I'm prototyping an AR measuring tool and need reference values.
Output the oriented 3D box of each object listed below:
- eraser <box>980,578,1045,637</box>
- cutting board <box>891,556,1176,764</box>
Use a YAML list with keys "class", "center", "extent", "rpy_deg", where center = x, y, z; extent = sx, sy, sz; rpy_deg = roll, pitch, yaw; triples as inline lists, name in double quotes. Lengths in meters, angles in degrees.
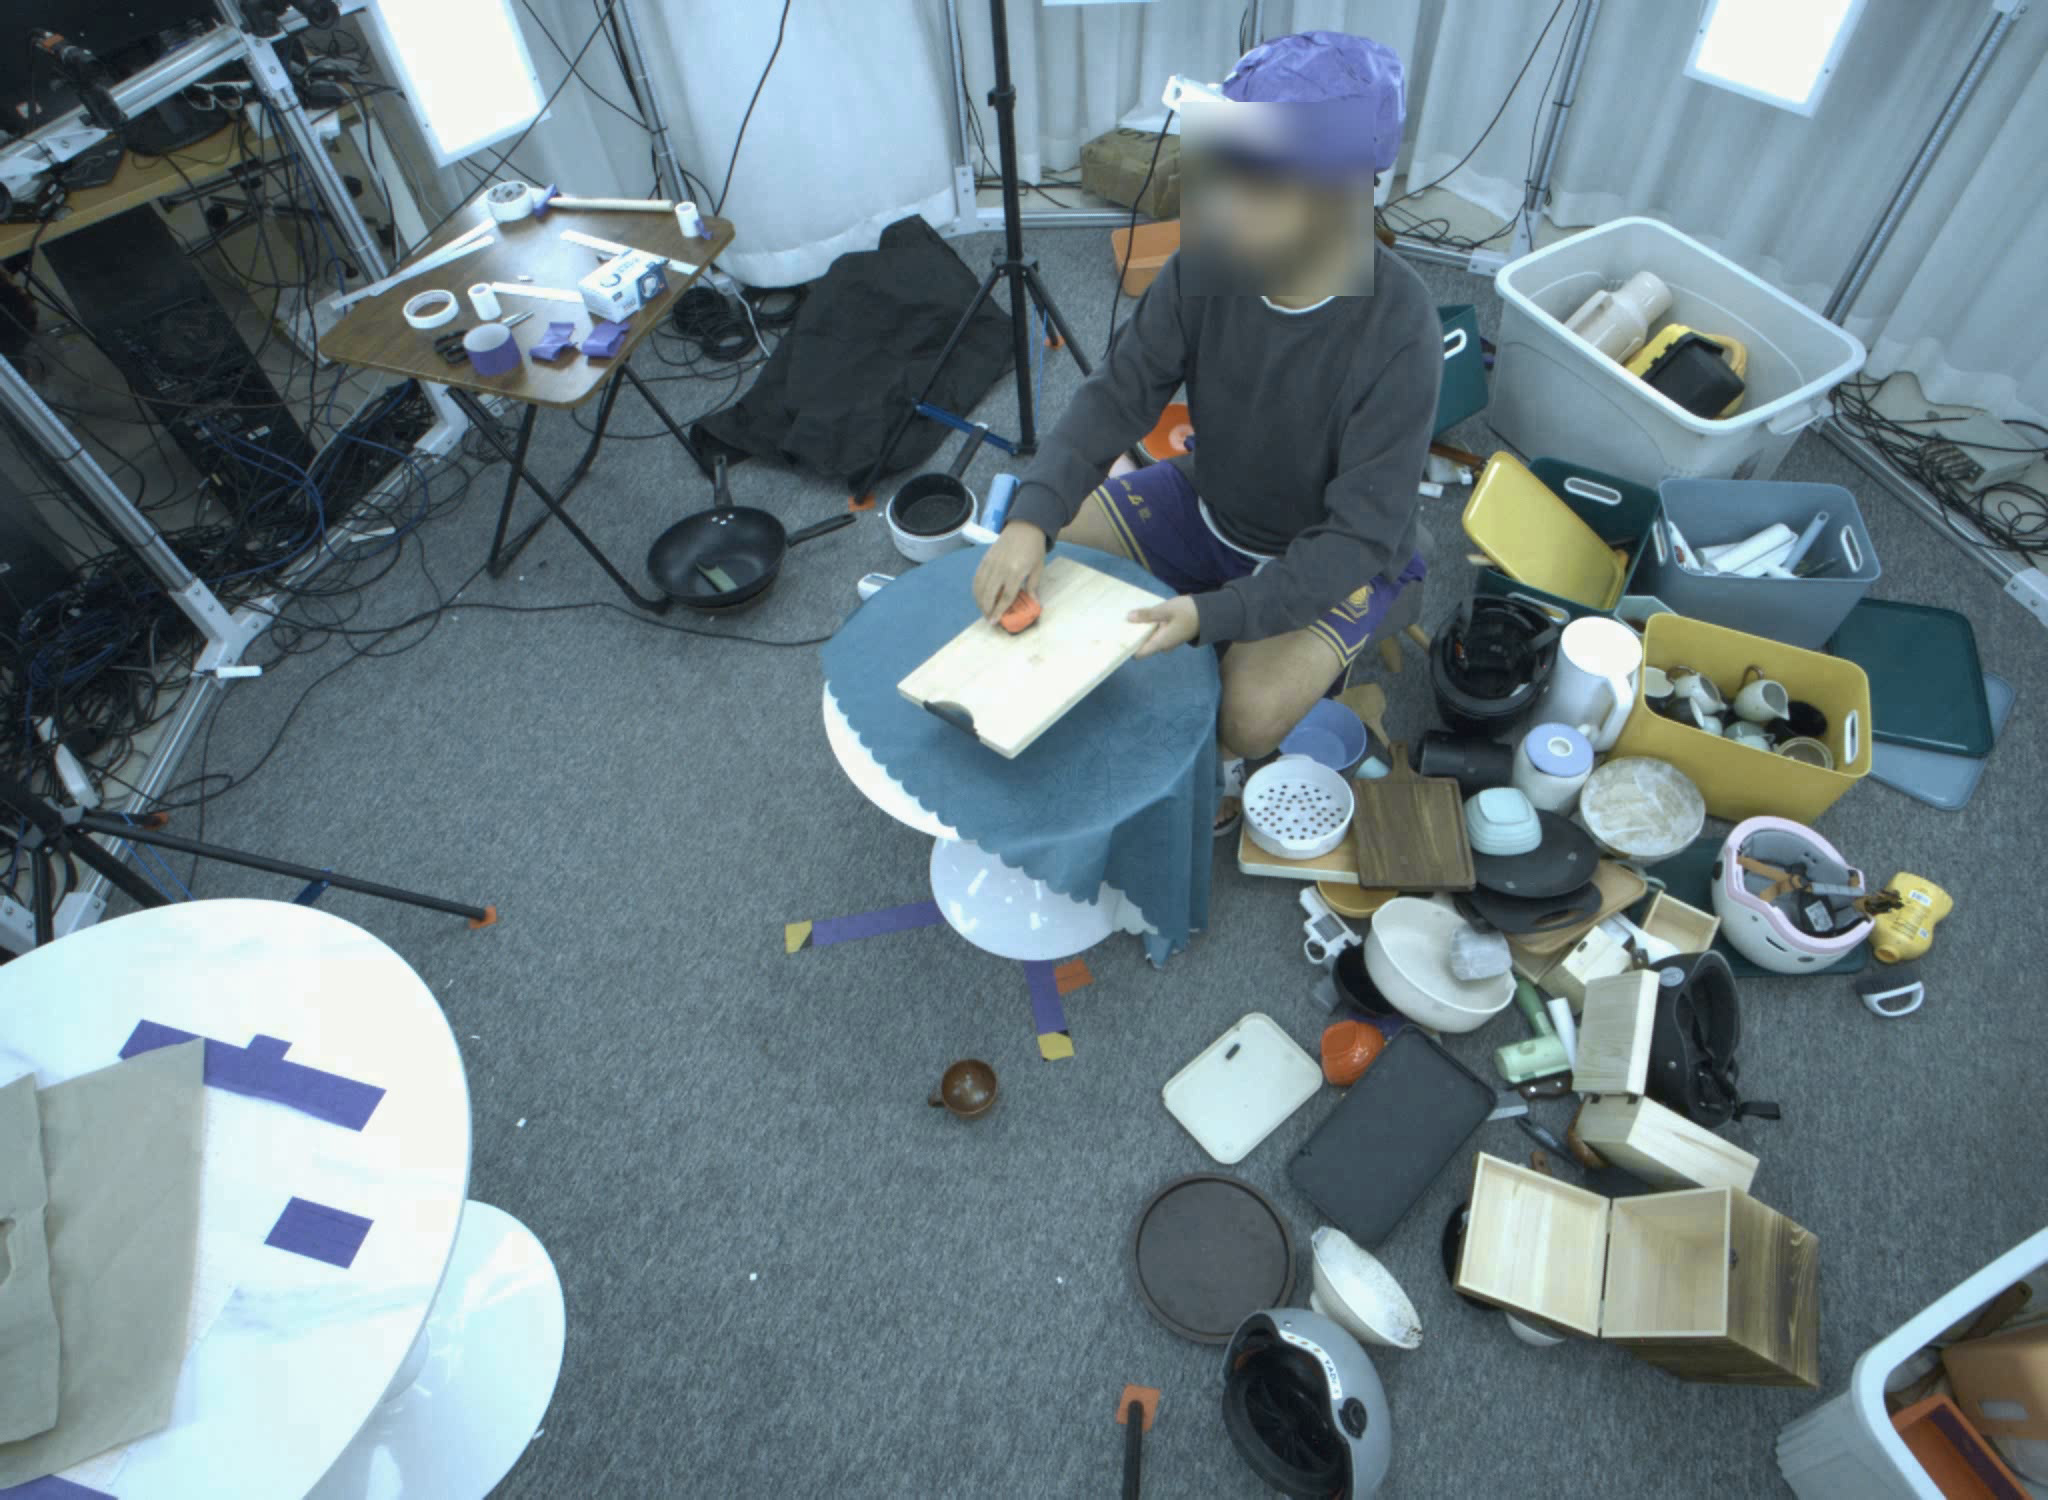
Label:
- class: "eraser"
  center: [-0.018, -0.209, 1.792]
  extent: [0.059, 0.023, 0.105]
  rpy_deg: [-29, 46, -13]
- class: "cutting board"
  center: [0.015, -0.138, 1.742]
  extent: [0.245, 0.024, 0.351]
  rpy_deg: [29, 60, 37]
